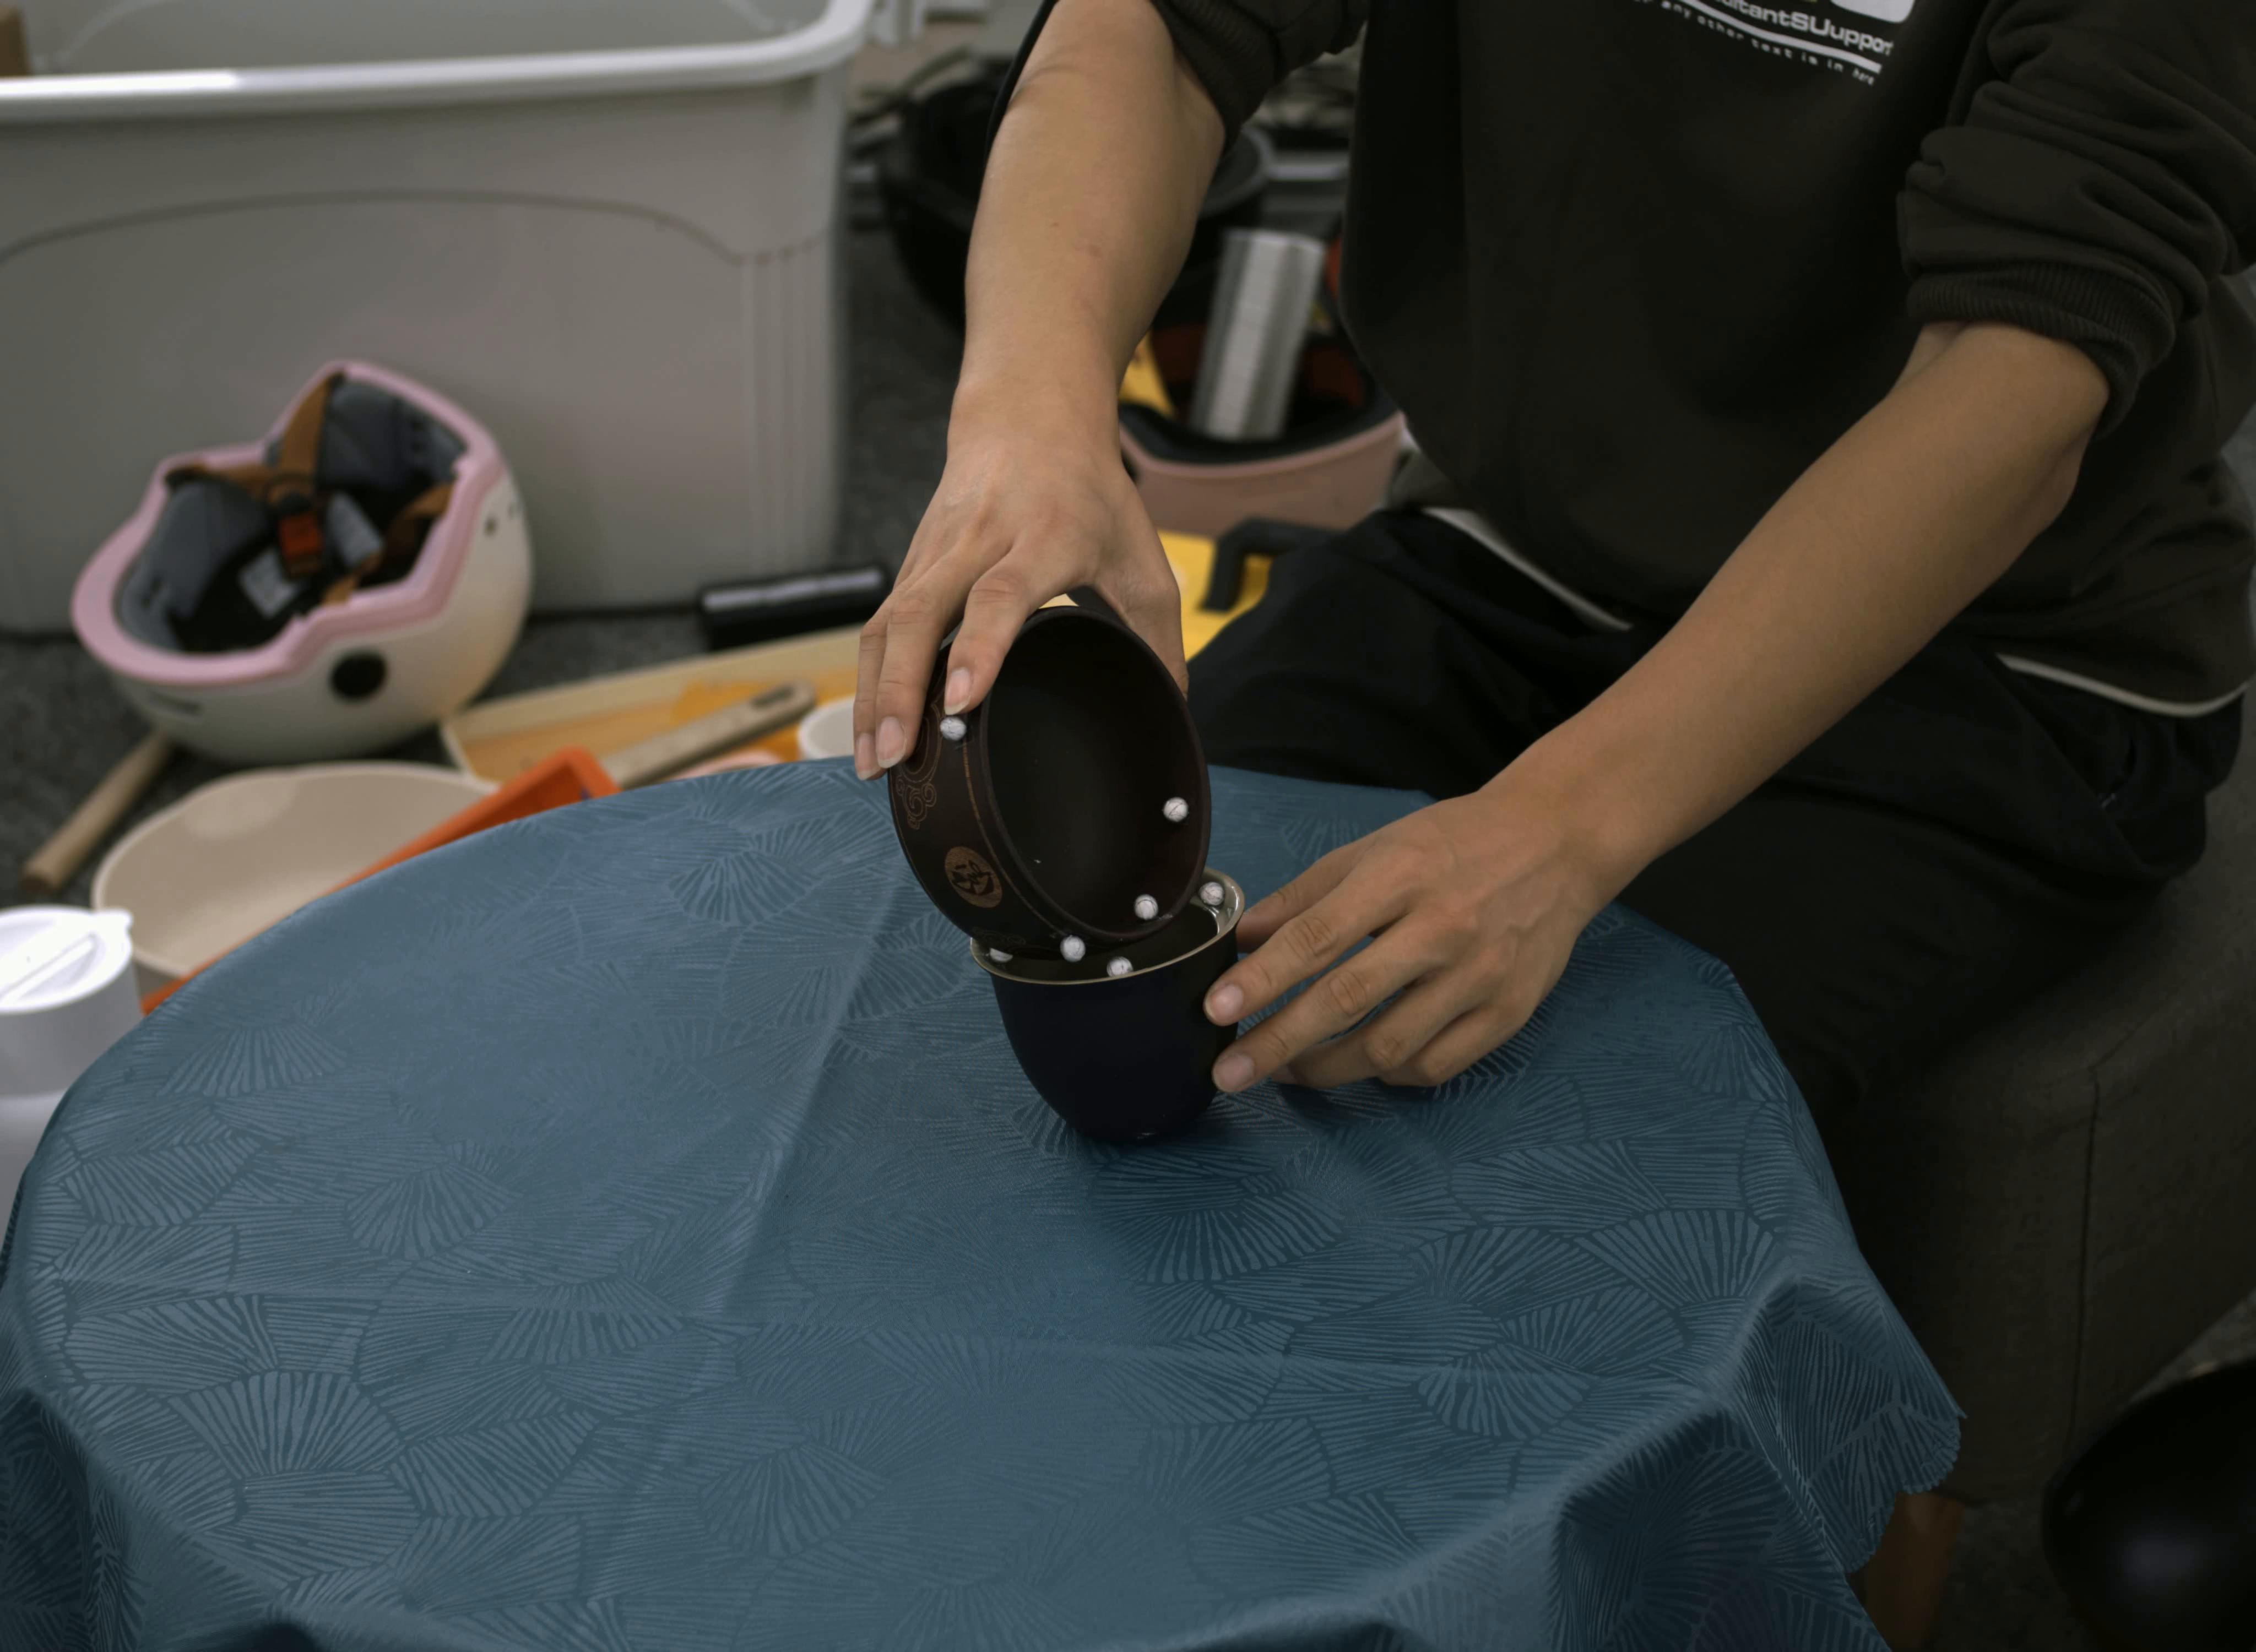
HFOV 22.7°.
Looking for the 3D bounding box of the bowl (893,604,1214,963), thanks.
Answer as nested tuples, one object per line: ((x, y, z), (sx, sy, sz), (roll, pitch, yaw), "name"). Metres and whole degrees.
((-0.033, -0.010, 1.876), (0.069, 0.118, 0.120), (-18, 15, 37), "bowl")

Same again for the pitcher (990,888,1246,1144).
((-0.003, 0.063, 1.895), (0.085, 0.071, 0.095), (-32, 29, -34), "pitcher")
